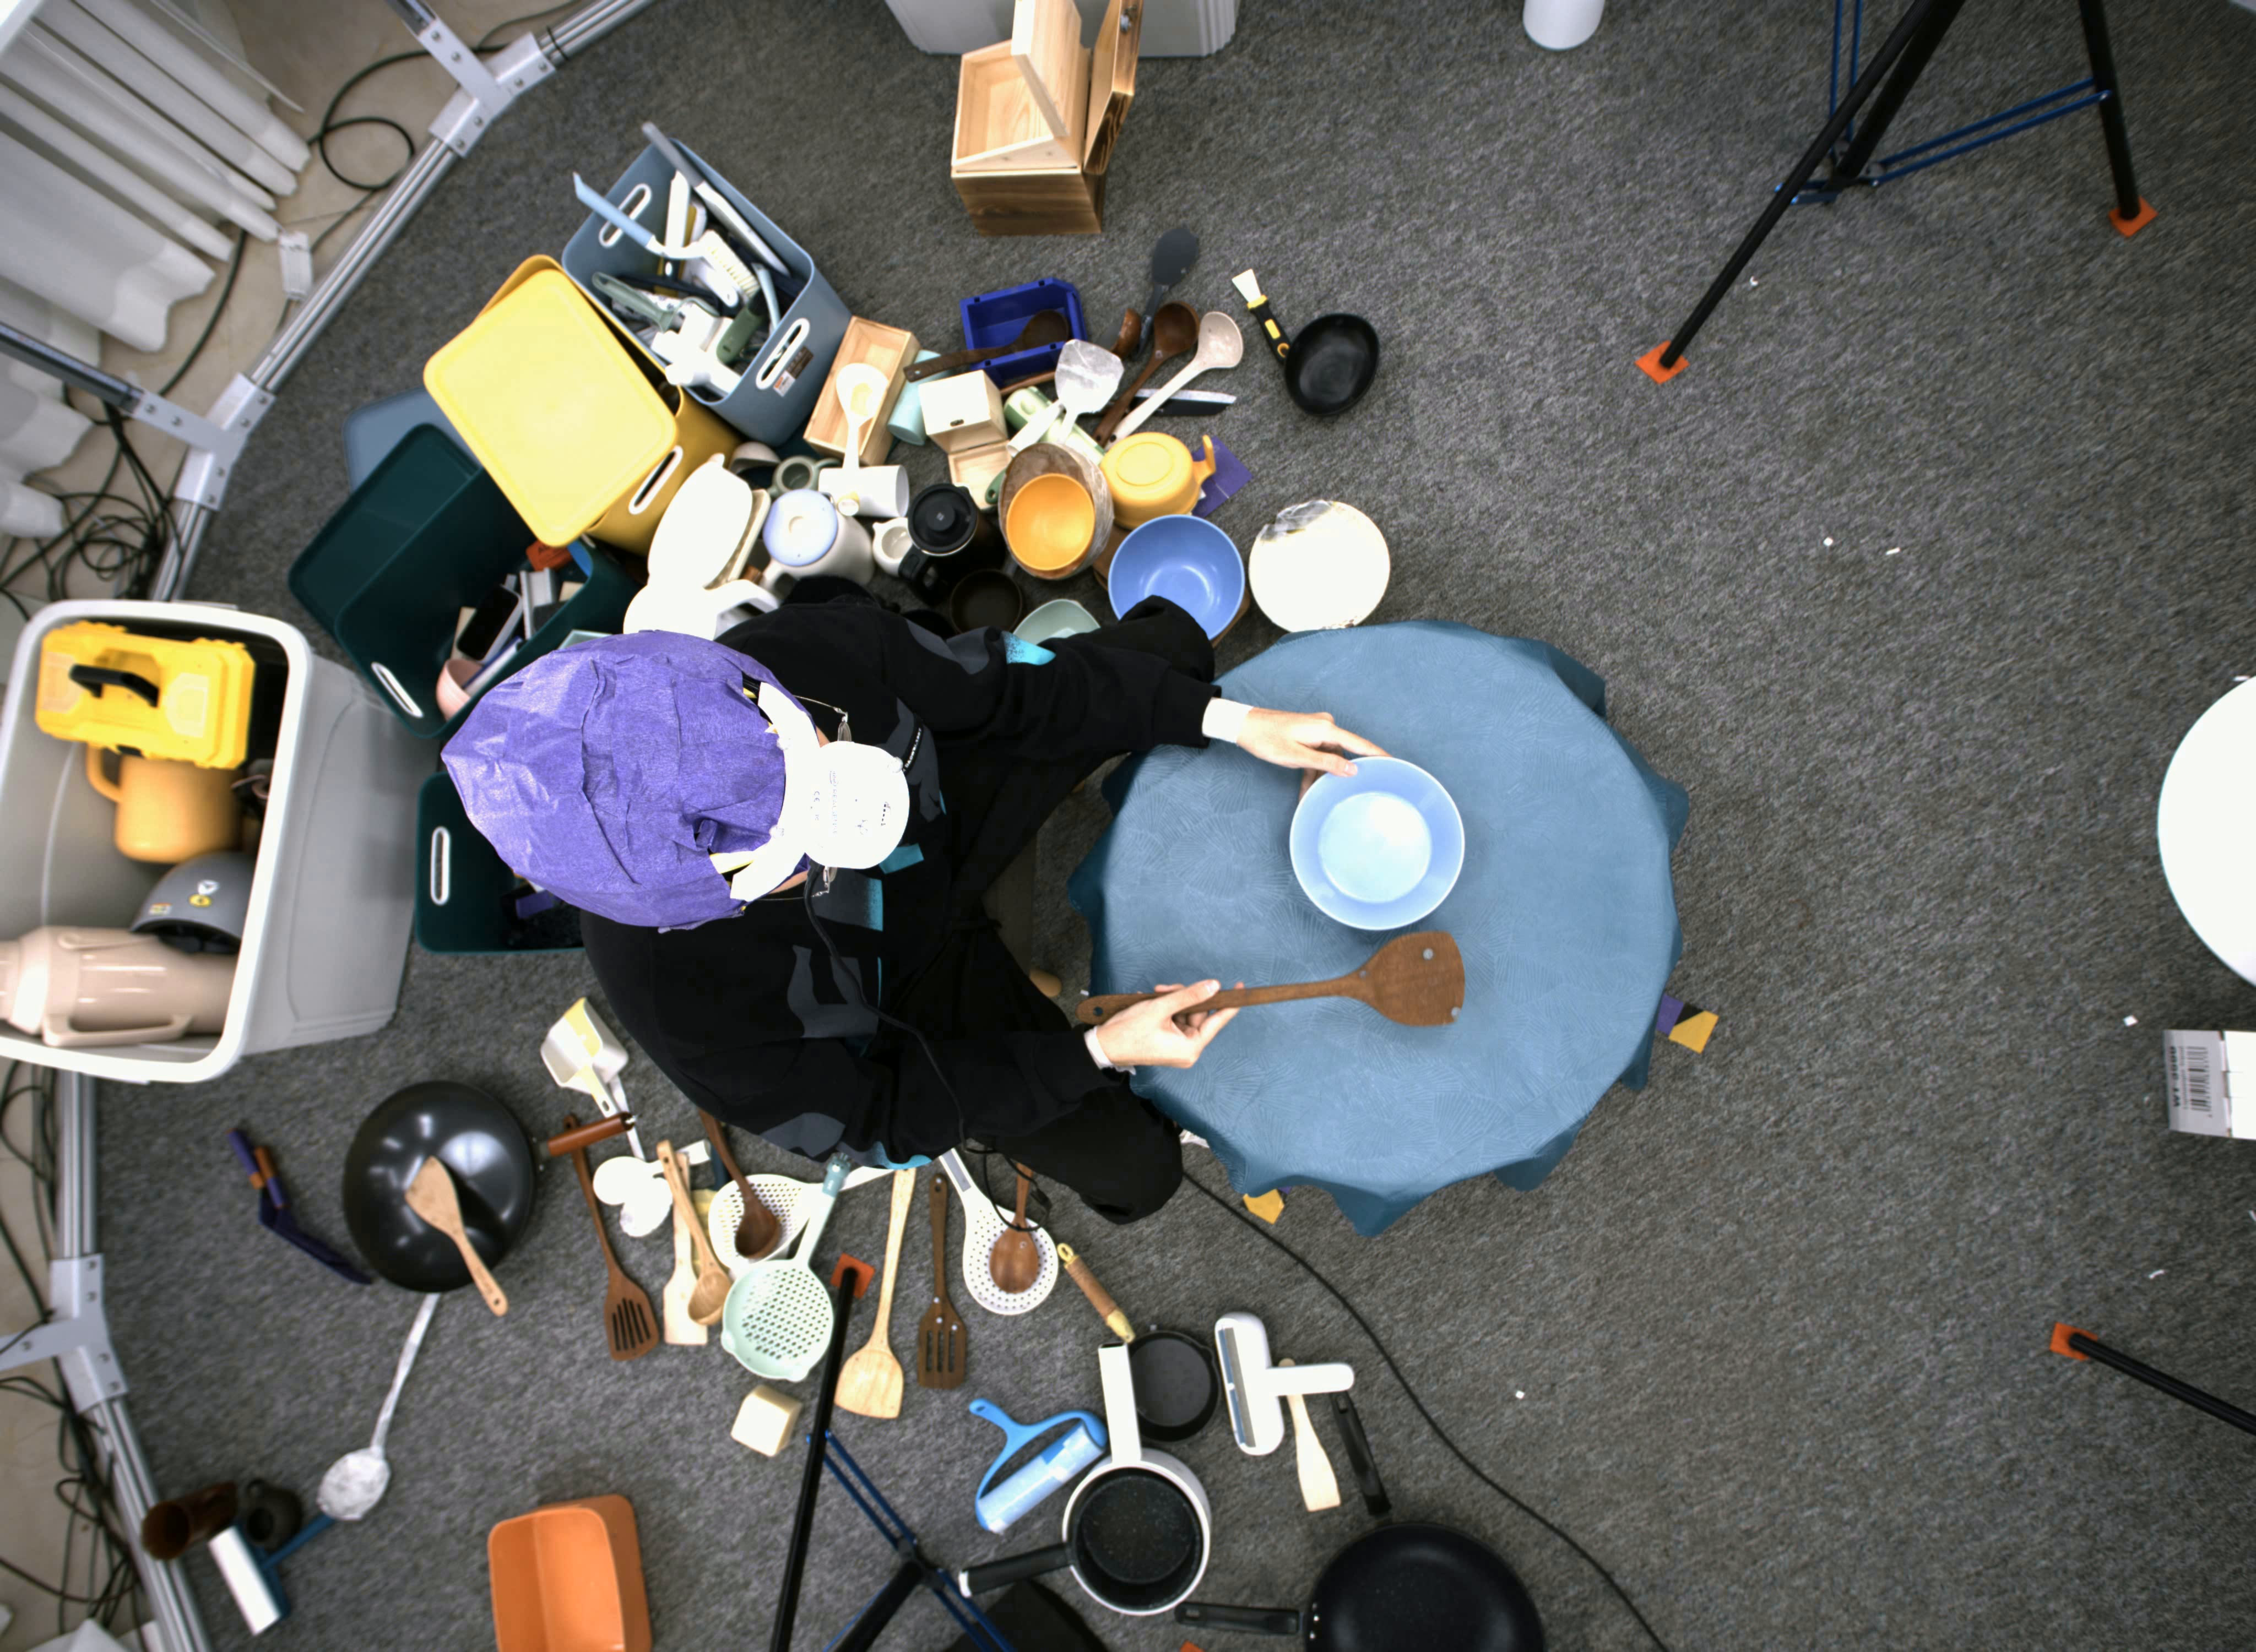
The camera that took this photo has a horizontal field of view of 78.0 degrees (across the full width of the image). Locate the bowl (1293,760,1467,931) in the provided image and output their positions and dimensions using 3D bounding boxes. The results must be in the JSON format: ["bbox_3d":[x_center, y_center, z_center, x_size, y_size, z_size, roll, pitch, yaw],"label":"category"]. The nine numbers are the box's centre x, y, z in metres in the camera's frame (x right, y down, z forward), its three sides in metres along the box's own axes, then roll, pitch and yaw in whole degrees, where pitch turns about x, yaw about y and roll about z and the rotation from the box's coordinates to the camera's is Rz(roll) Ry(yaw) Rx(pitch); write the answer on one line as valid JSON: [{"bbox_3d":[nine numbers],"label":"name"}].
[{"bbox_3d":[0.261,0.022,1.433,0.177,0.070,0.175,-1,86,10],"label":"bowl"}]

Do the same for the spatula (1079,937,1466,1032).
[{"bbox_3d":[0.144,0.170,1.372,0.386,0.016,0.096,-5,94,-1],"label":"spatula"}]
